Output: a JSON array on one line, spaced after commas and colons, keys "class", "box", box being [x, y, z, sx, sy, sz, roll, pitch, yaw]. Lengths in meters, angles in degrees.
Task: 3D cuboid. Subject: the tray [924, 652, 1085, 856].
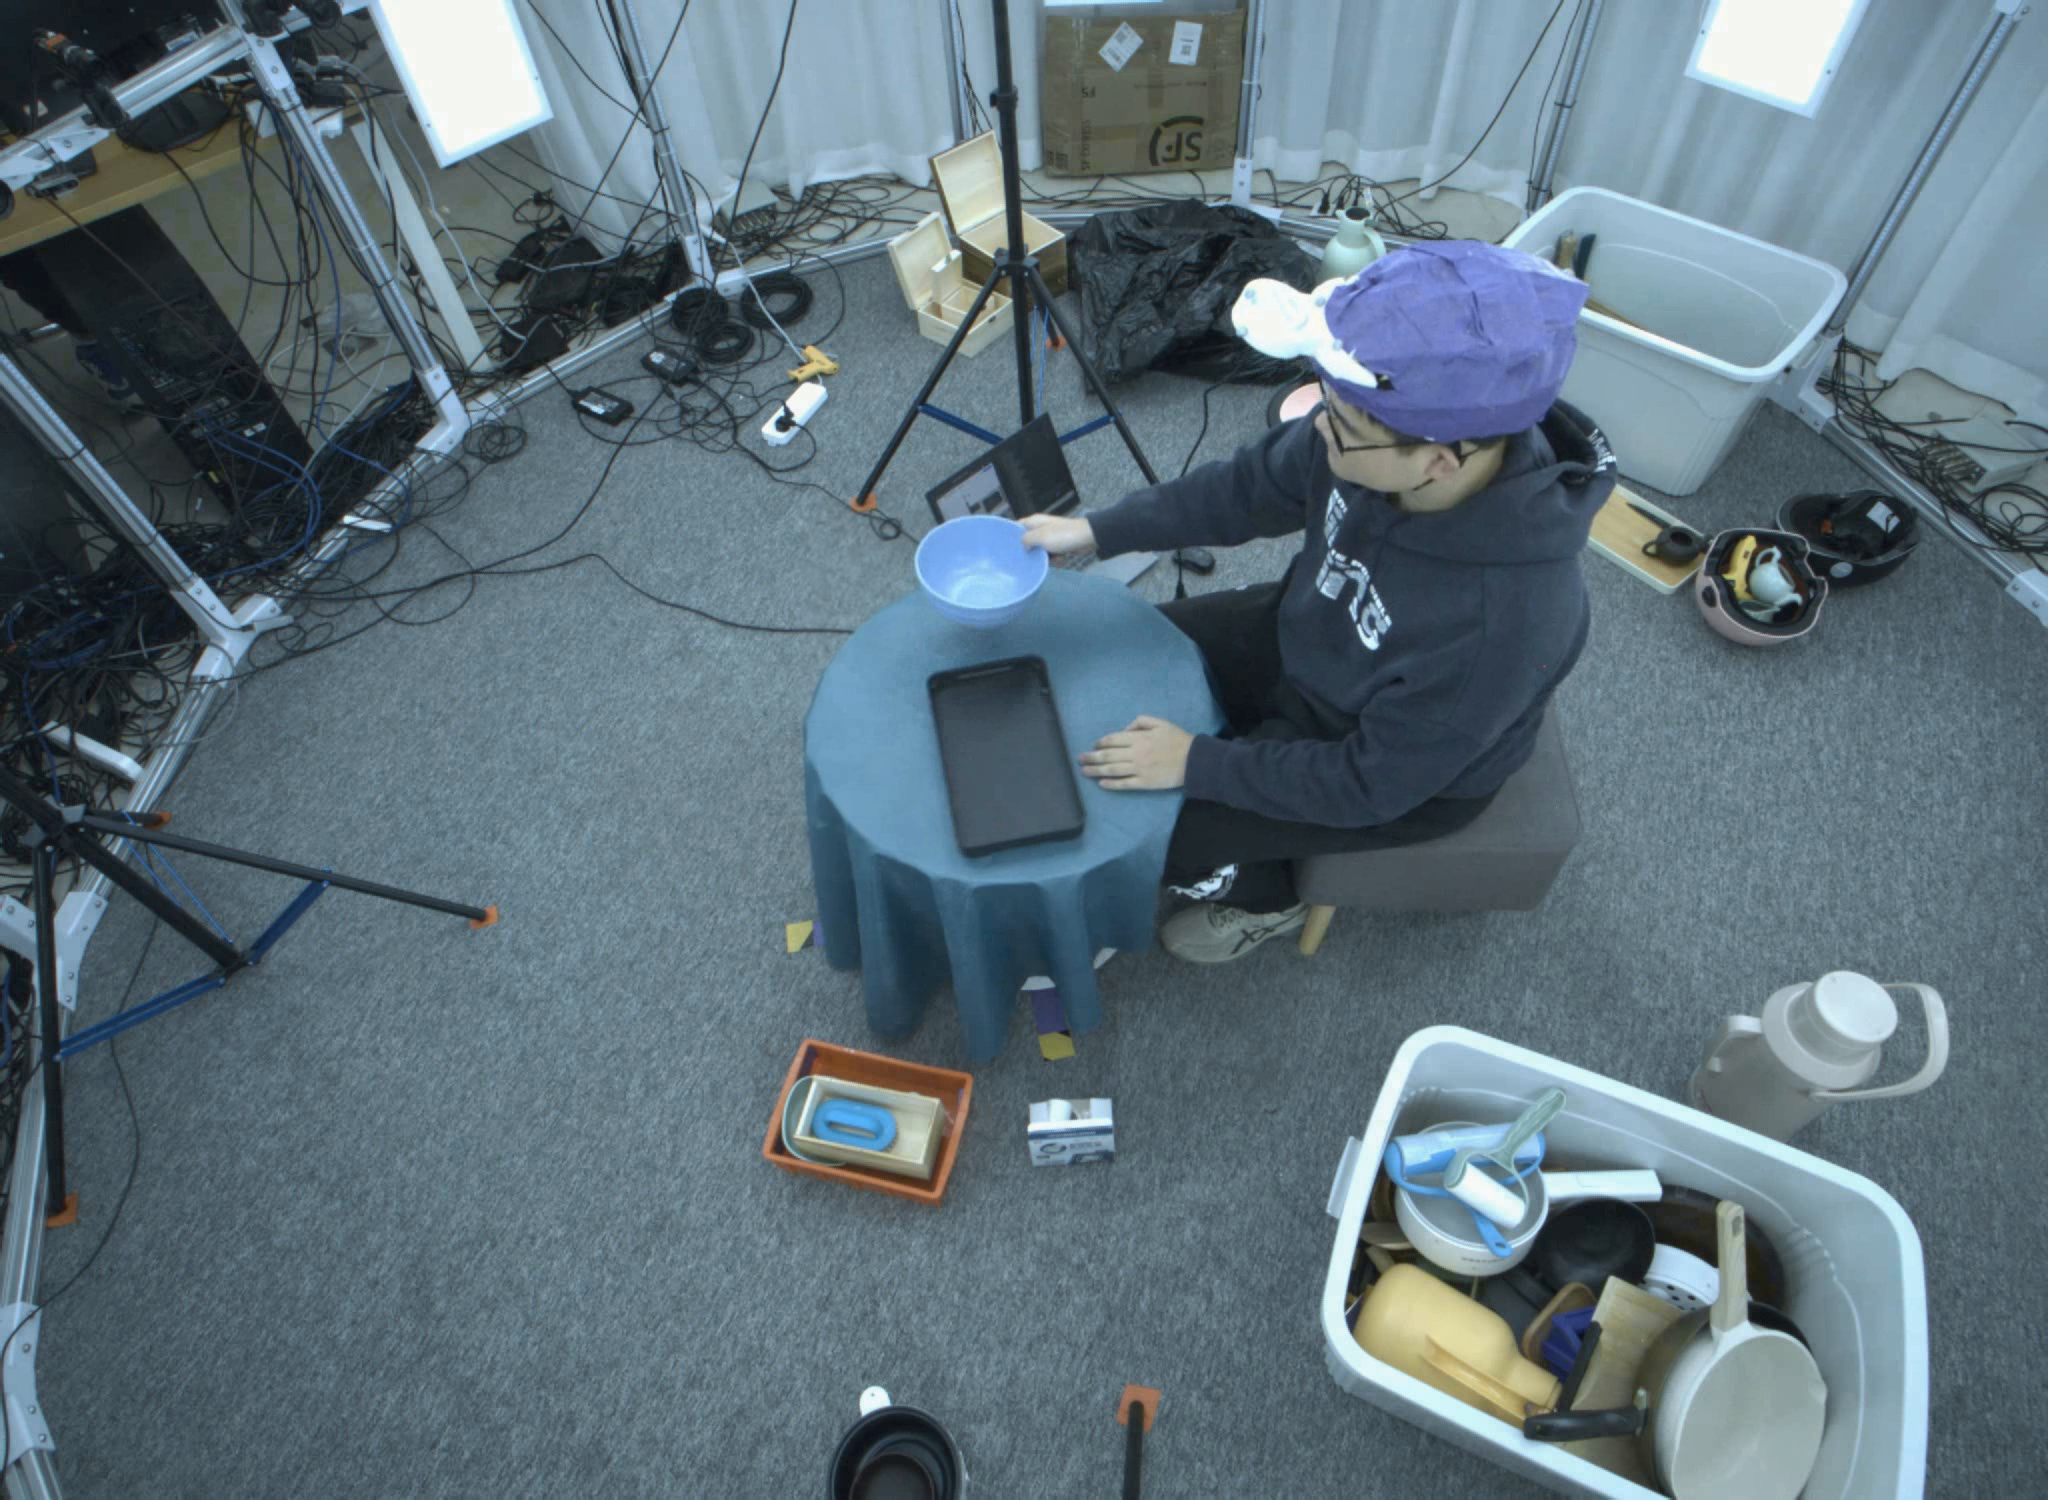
[{"class": "tray", "box": [-0.032, 0.000, 1.765, 0.185, 0.037, 0.313, -10, 55, -6]}]

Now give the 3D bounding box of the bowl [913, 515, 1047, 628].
[{"class": "bowl", "box": [-0.066, -0.250, 1.824, 0.197, 0.096, 0.194, 3, 52, -2]}]
